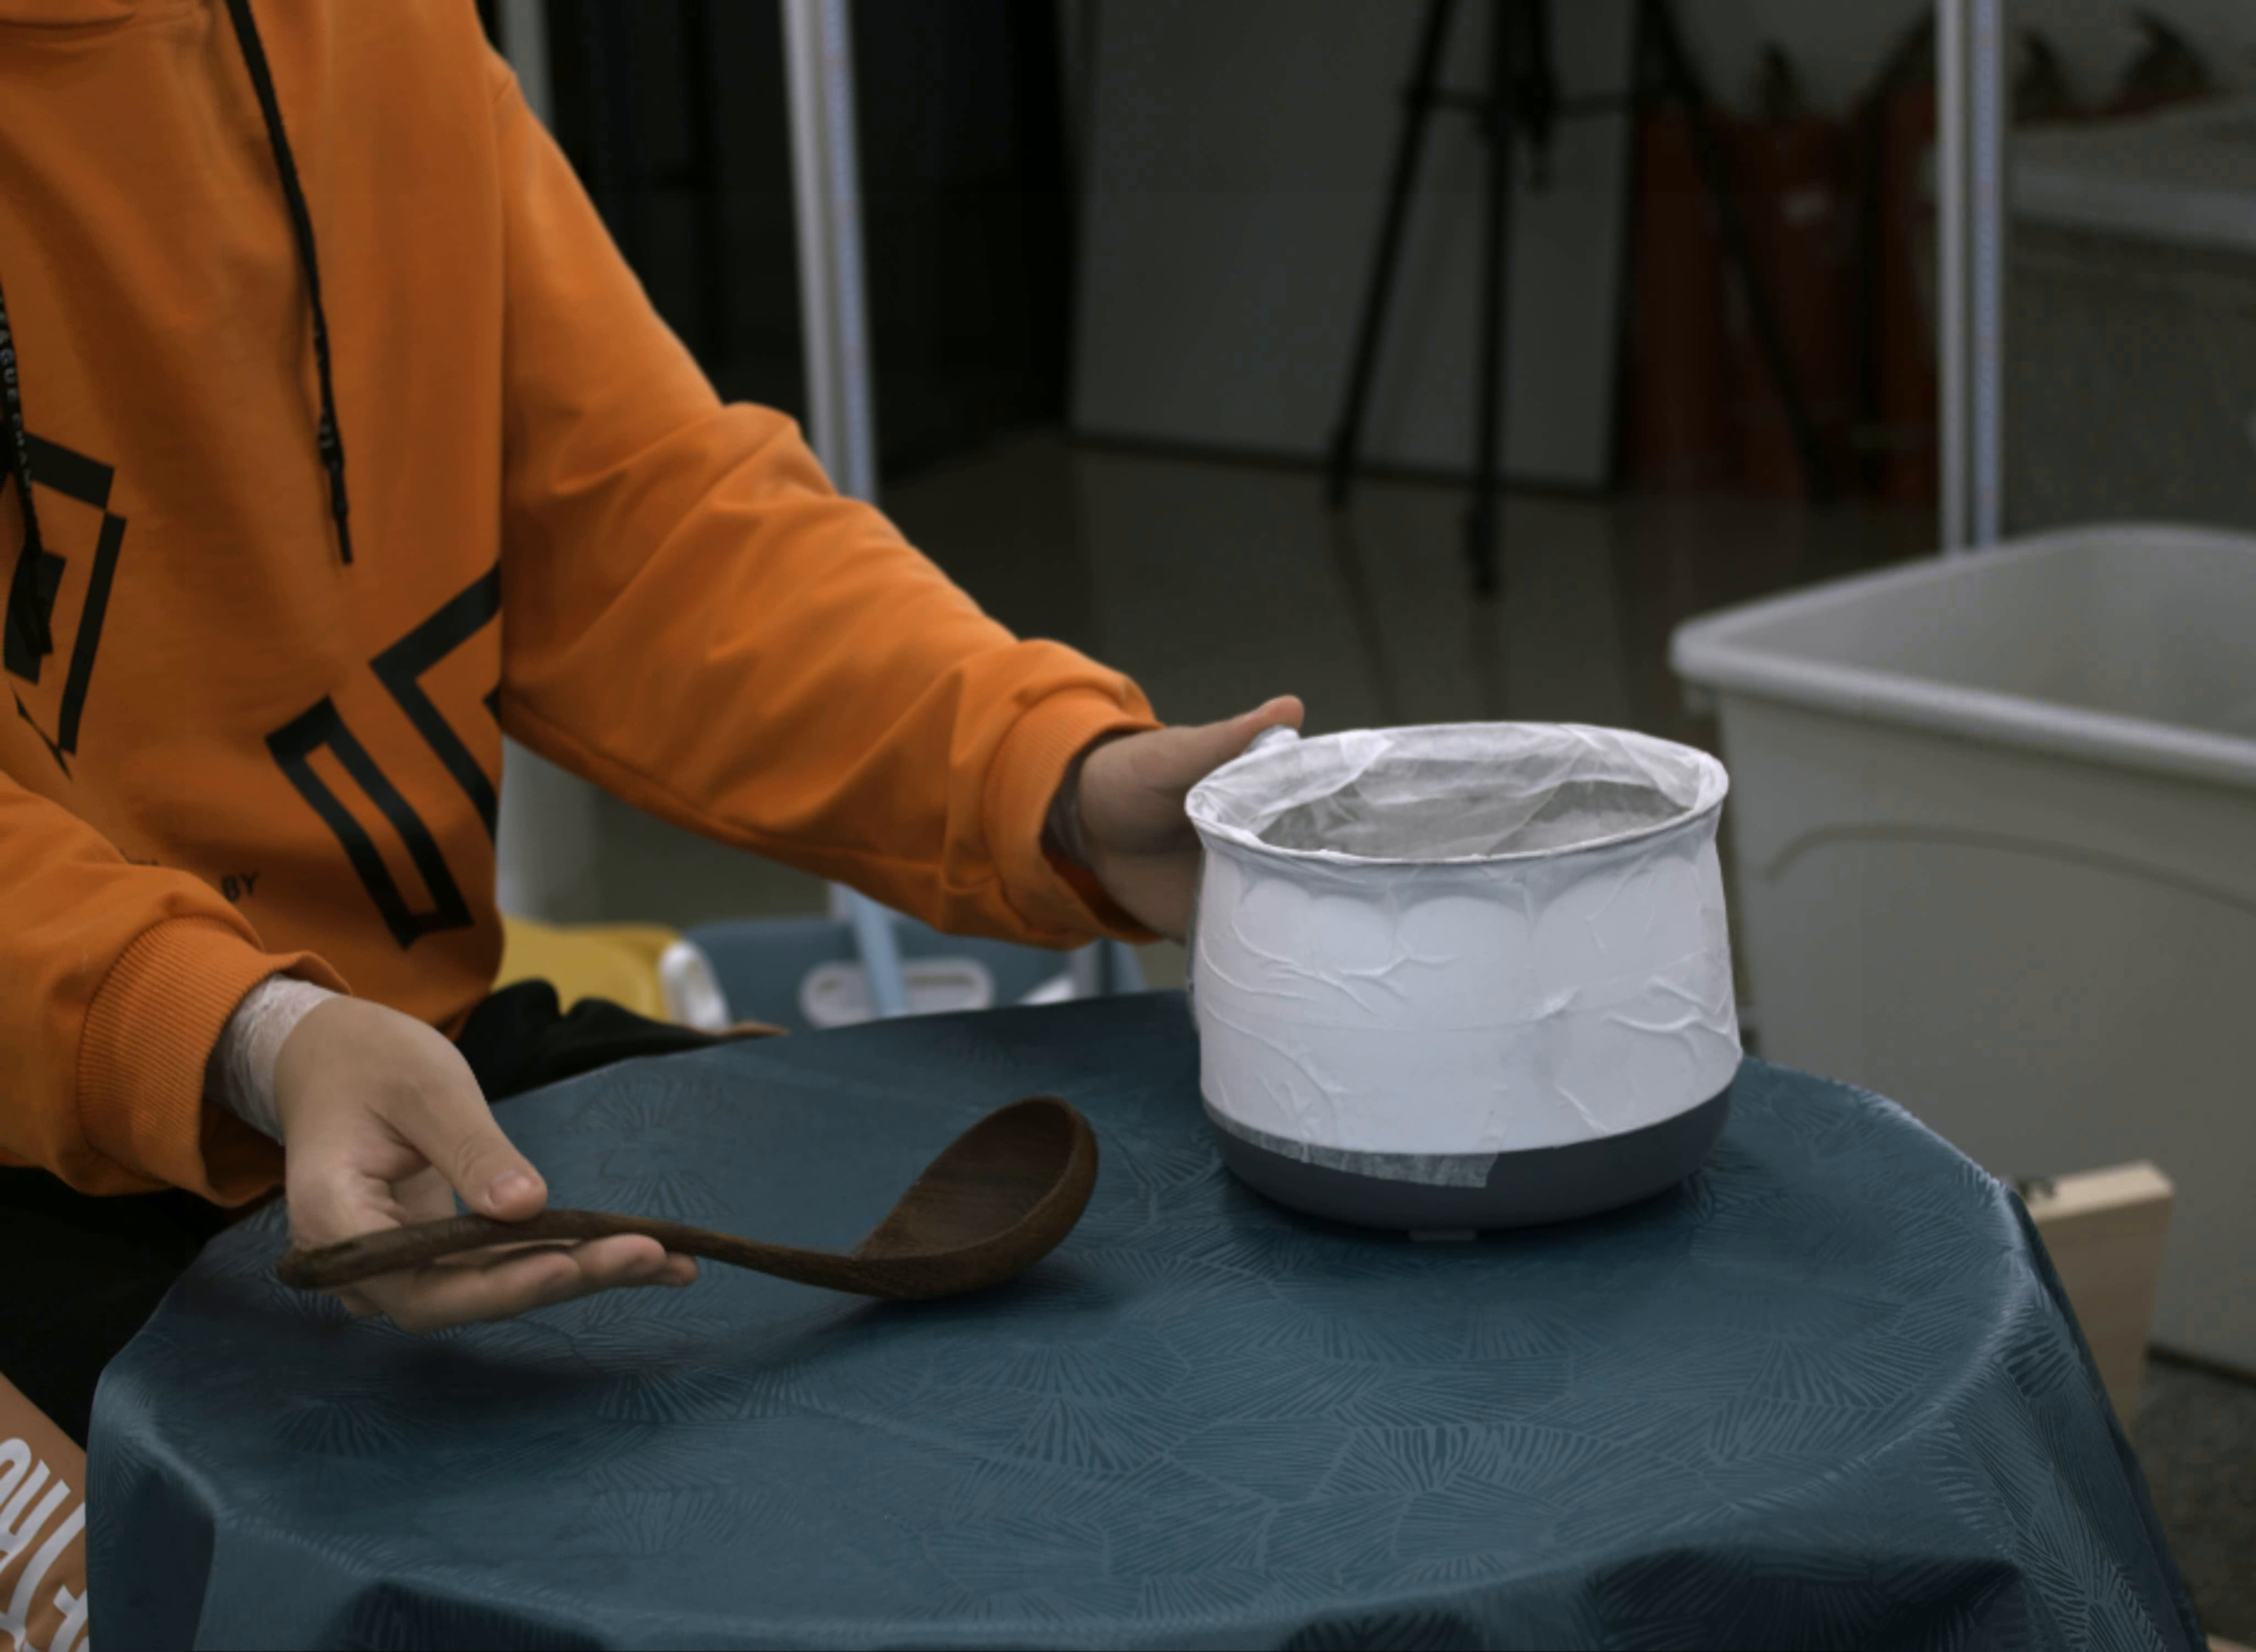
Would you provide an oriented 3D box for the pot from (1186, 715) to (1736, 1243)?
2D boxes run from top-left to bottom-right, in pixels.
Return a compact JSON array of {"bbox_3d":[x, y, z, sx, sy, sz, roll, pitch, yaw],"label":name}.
[{"bbox_3d":[0.093,0.043,1.770,0.175,0.138,0.236,-12,16,-33],"label":"pot"}]

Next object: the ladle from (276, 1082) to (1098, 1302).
[{"bbox_3d":[-0.129,0.106,1.630,0.268,0.072,0.077,6,-5,-34],"label":"ladle"}]
